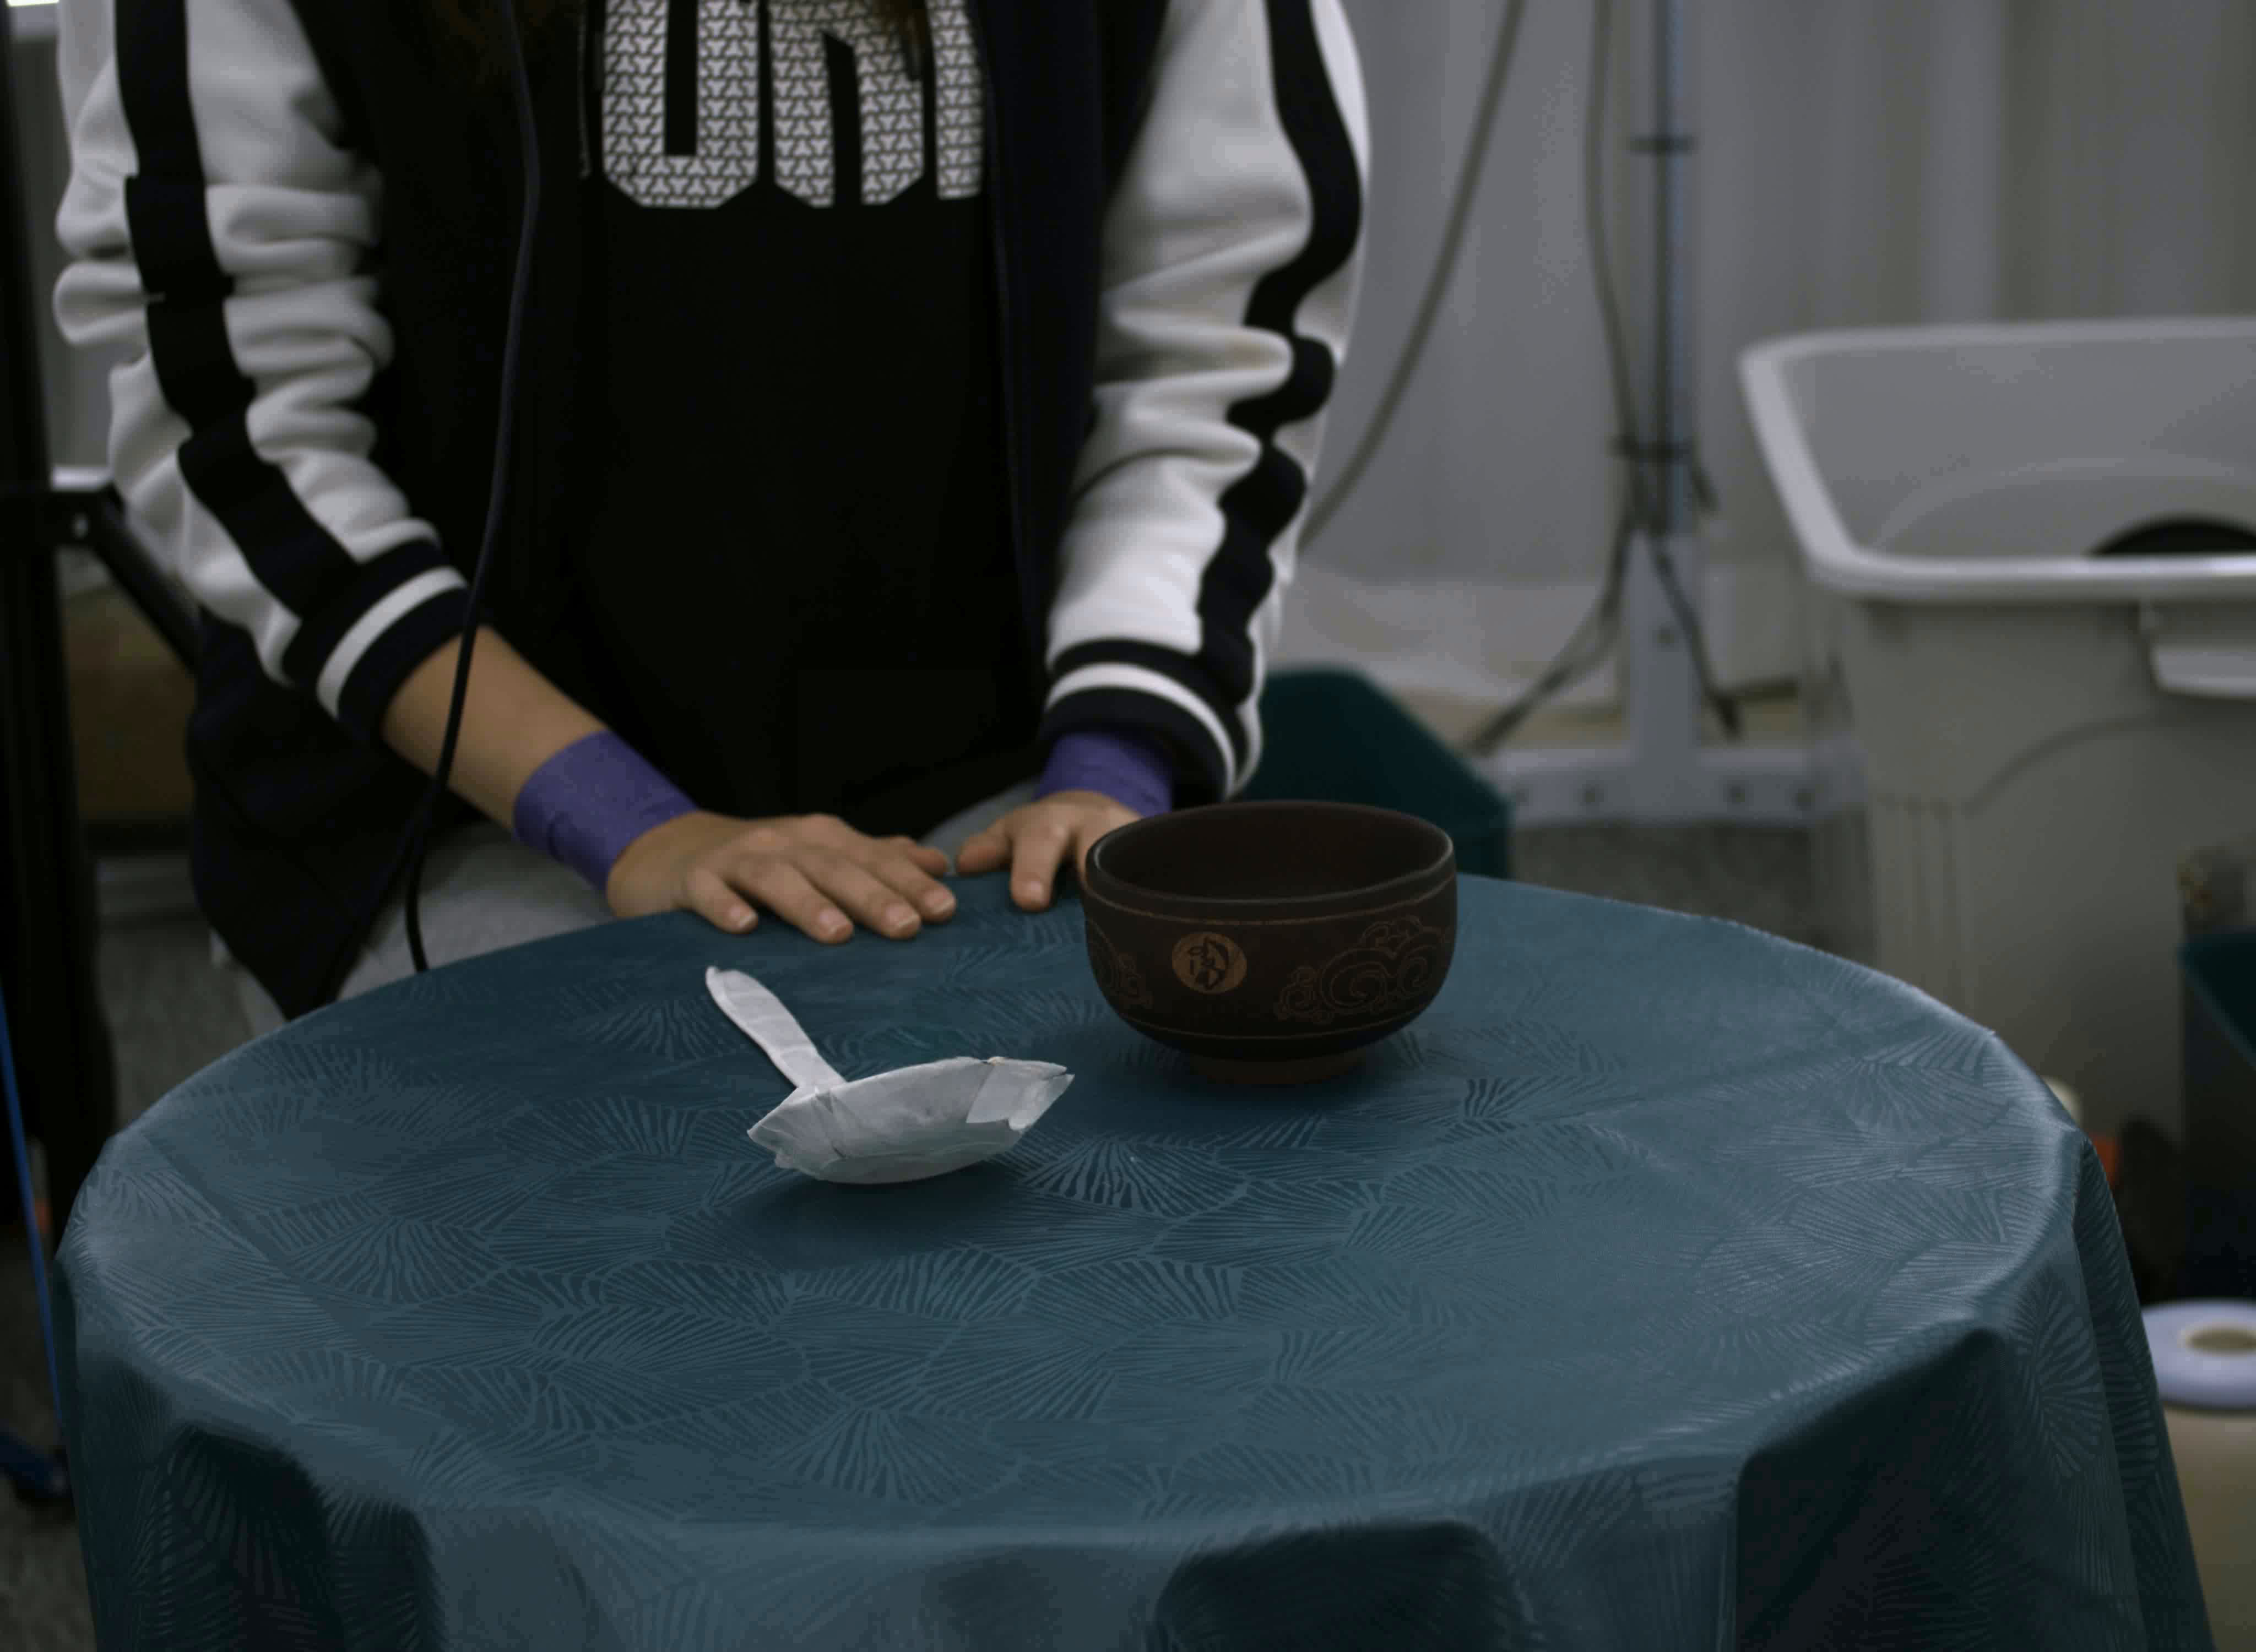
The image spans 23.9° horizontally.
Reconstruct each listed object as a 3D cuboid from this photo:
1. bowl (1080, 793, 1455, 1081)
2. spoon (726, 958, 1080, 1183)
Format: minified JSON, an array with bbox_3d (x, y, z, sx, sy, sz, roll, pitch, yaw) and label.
[{"bbox_3d":[0.044,0.038,1.662,0.117,0.070,0.118,-2,16,-1],"label":"bowl"},{"bbox_3d":[-0.086,0.057,1.647,0.099,0.059,0.281,-3,15,-15],"label":"spoon"}]
